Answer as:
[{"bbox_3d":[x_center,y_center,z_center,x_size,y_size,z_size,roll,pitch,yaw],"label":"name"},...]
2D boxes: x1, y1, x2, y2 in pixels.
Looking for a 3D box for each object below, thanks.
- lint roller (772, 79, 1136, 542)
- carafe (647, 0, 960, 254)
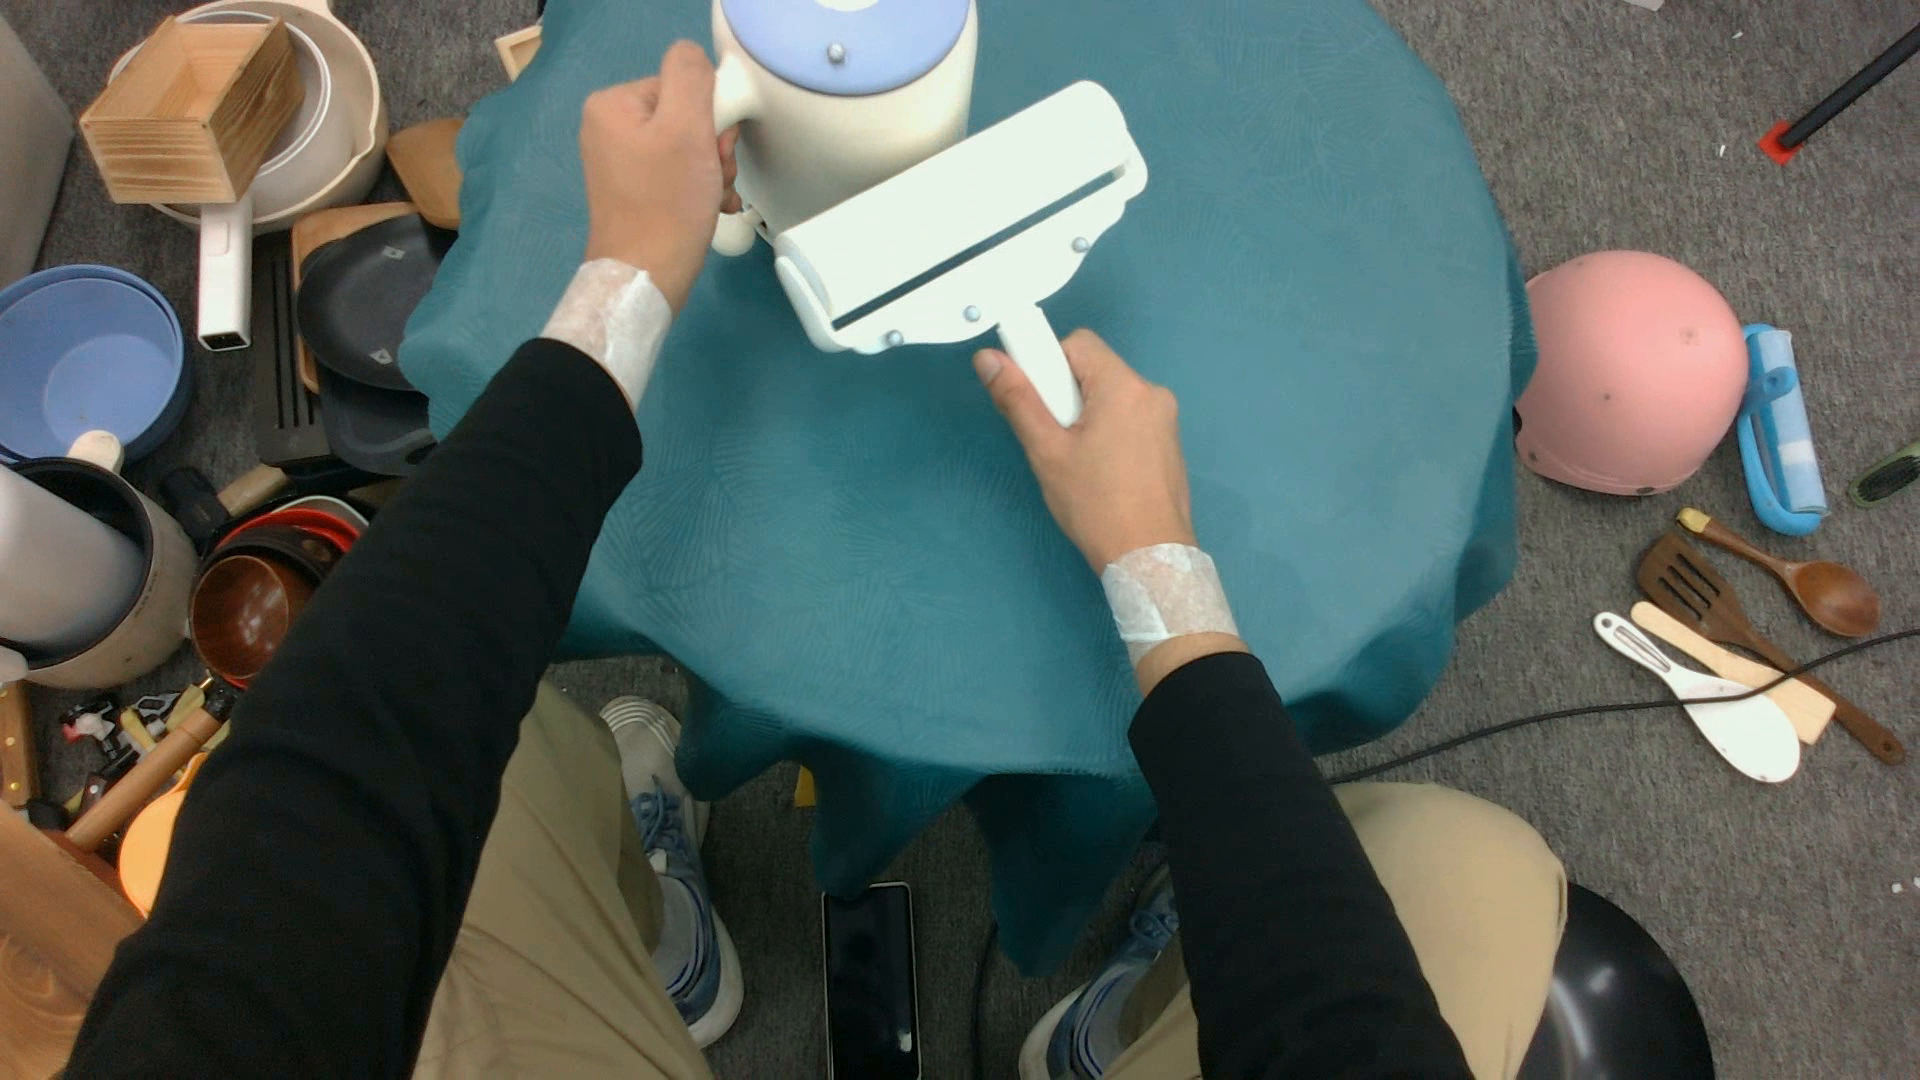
[{"bbox_3d":[0.036,-0.099,0.703,0.203,0.048,0.225,-33,101,-24],"label":"lint roller"},{"bbox_3d":[-0.087,-0.228,0.722,0.191,0.182,0.132,-41,80,-13],"label":"carafe"}]
